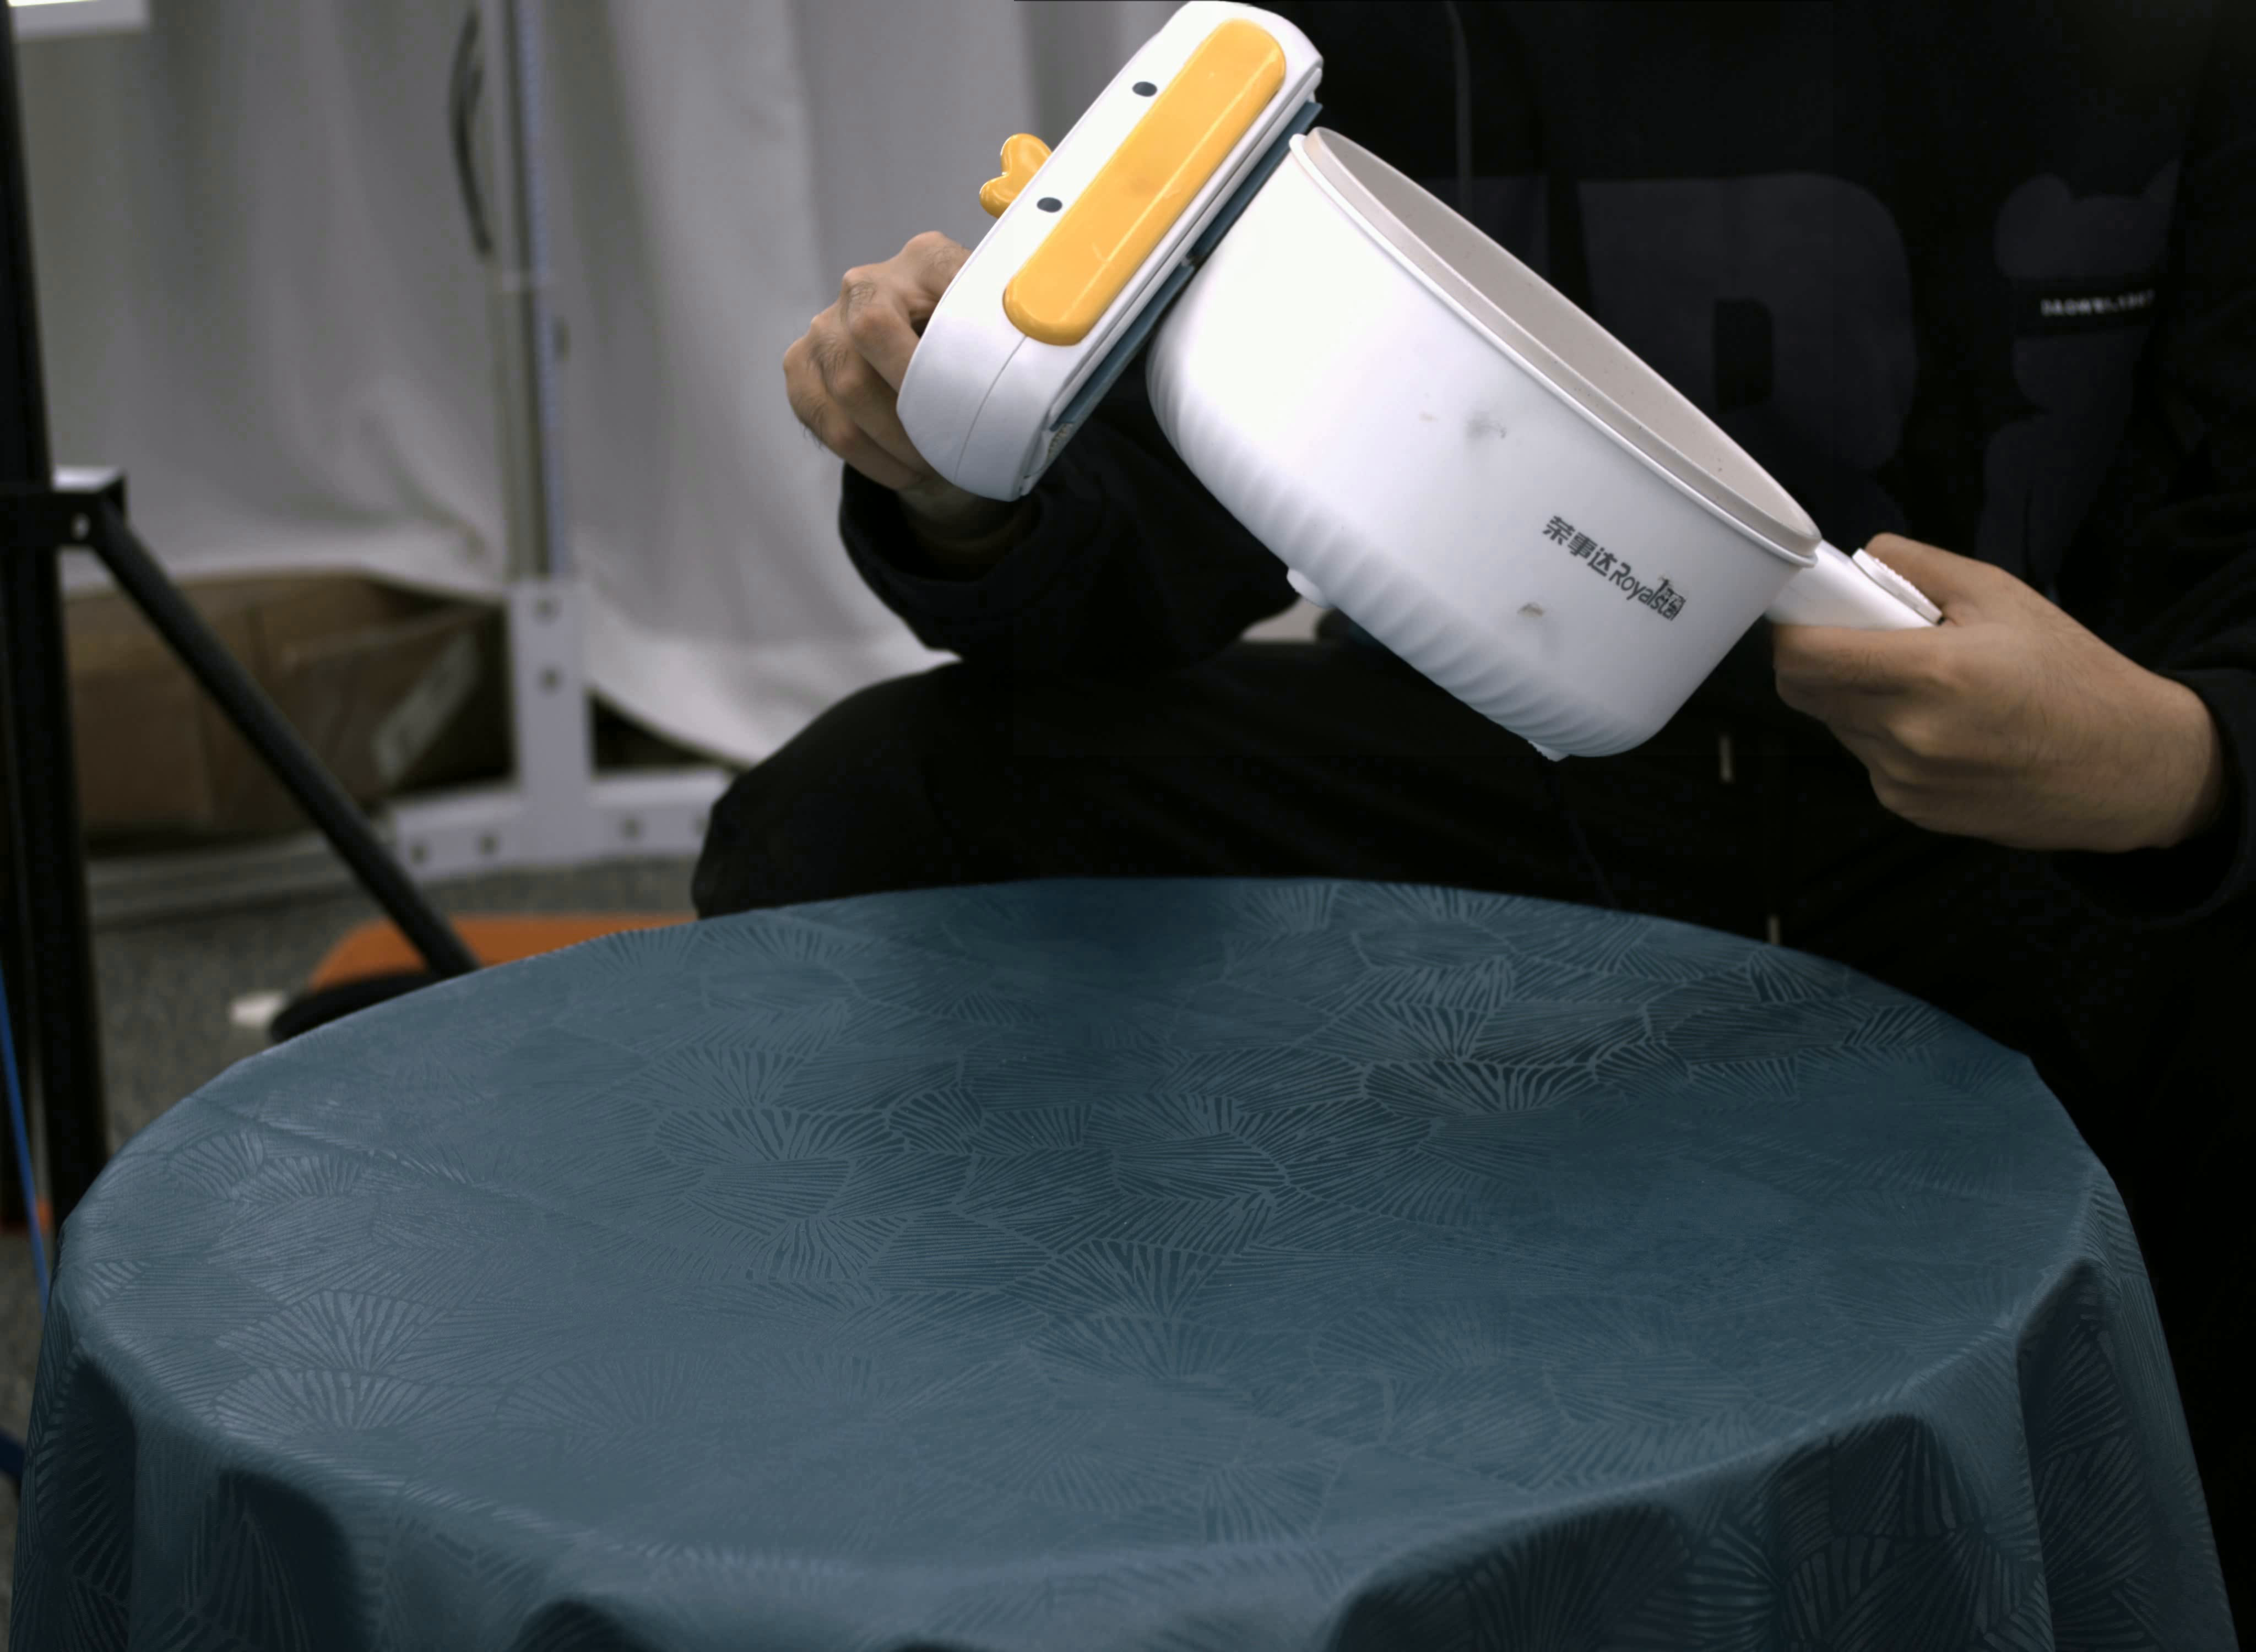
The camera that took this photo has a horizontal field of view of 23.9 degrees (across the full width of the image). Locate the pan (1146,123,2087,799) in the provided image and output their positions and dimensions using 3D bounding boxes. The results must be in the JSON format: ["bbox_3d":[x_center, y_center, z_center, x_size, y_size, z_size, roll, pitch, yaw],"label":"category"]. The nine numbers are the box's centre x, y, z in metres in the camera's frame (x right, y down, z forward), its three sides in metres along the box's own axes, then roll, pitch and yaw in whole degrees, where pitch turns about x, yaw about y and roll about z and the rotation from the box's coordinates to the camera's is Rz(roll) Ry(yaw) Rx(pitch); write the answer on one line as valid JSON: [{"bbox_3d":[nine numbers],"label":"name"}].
[{"bbox_3d":[0.153,-0.075,1.627,0.346,0.102,0.205,32,13,-34],"label":"pan"}]

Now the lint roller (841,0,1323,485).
[{"bbox_3d":[-0.030,-0.158,1.648,0.074,0.194,0.192,33,53,-4],"label":"lint roller"}]
